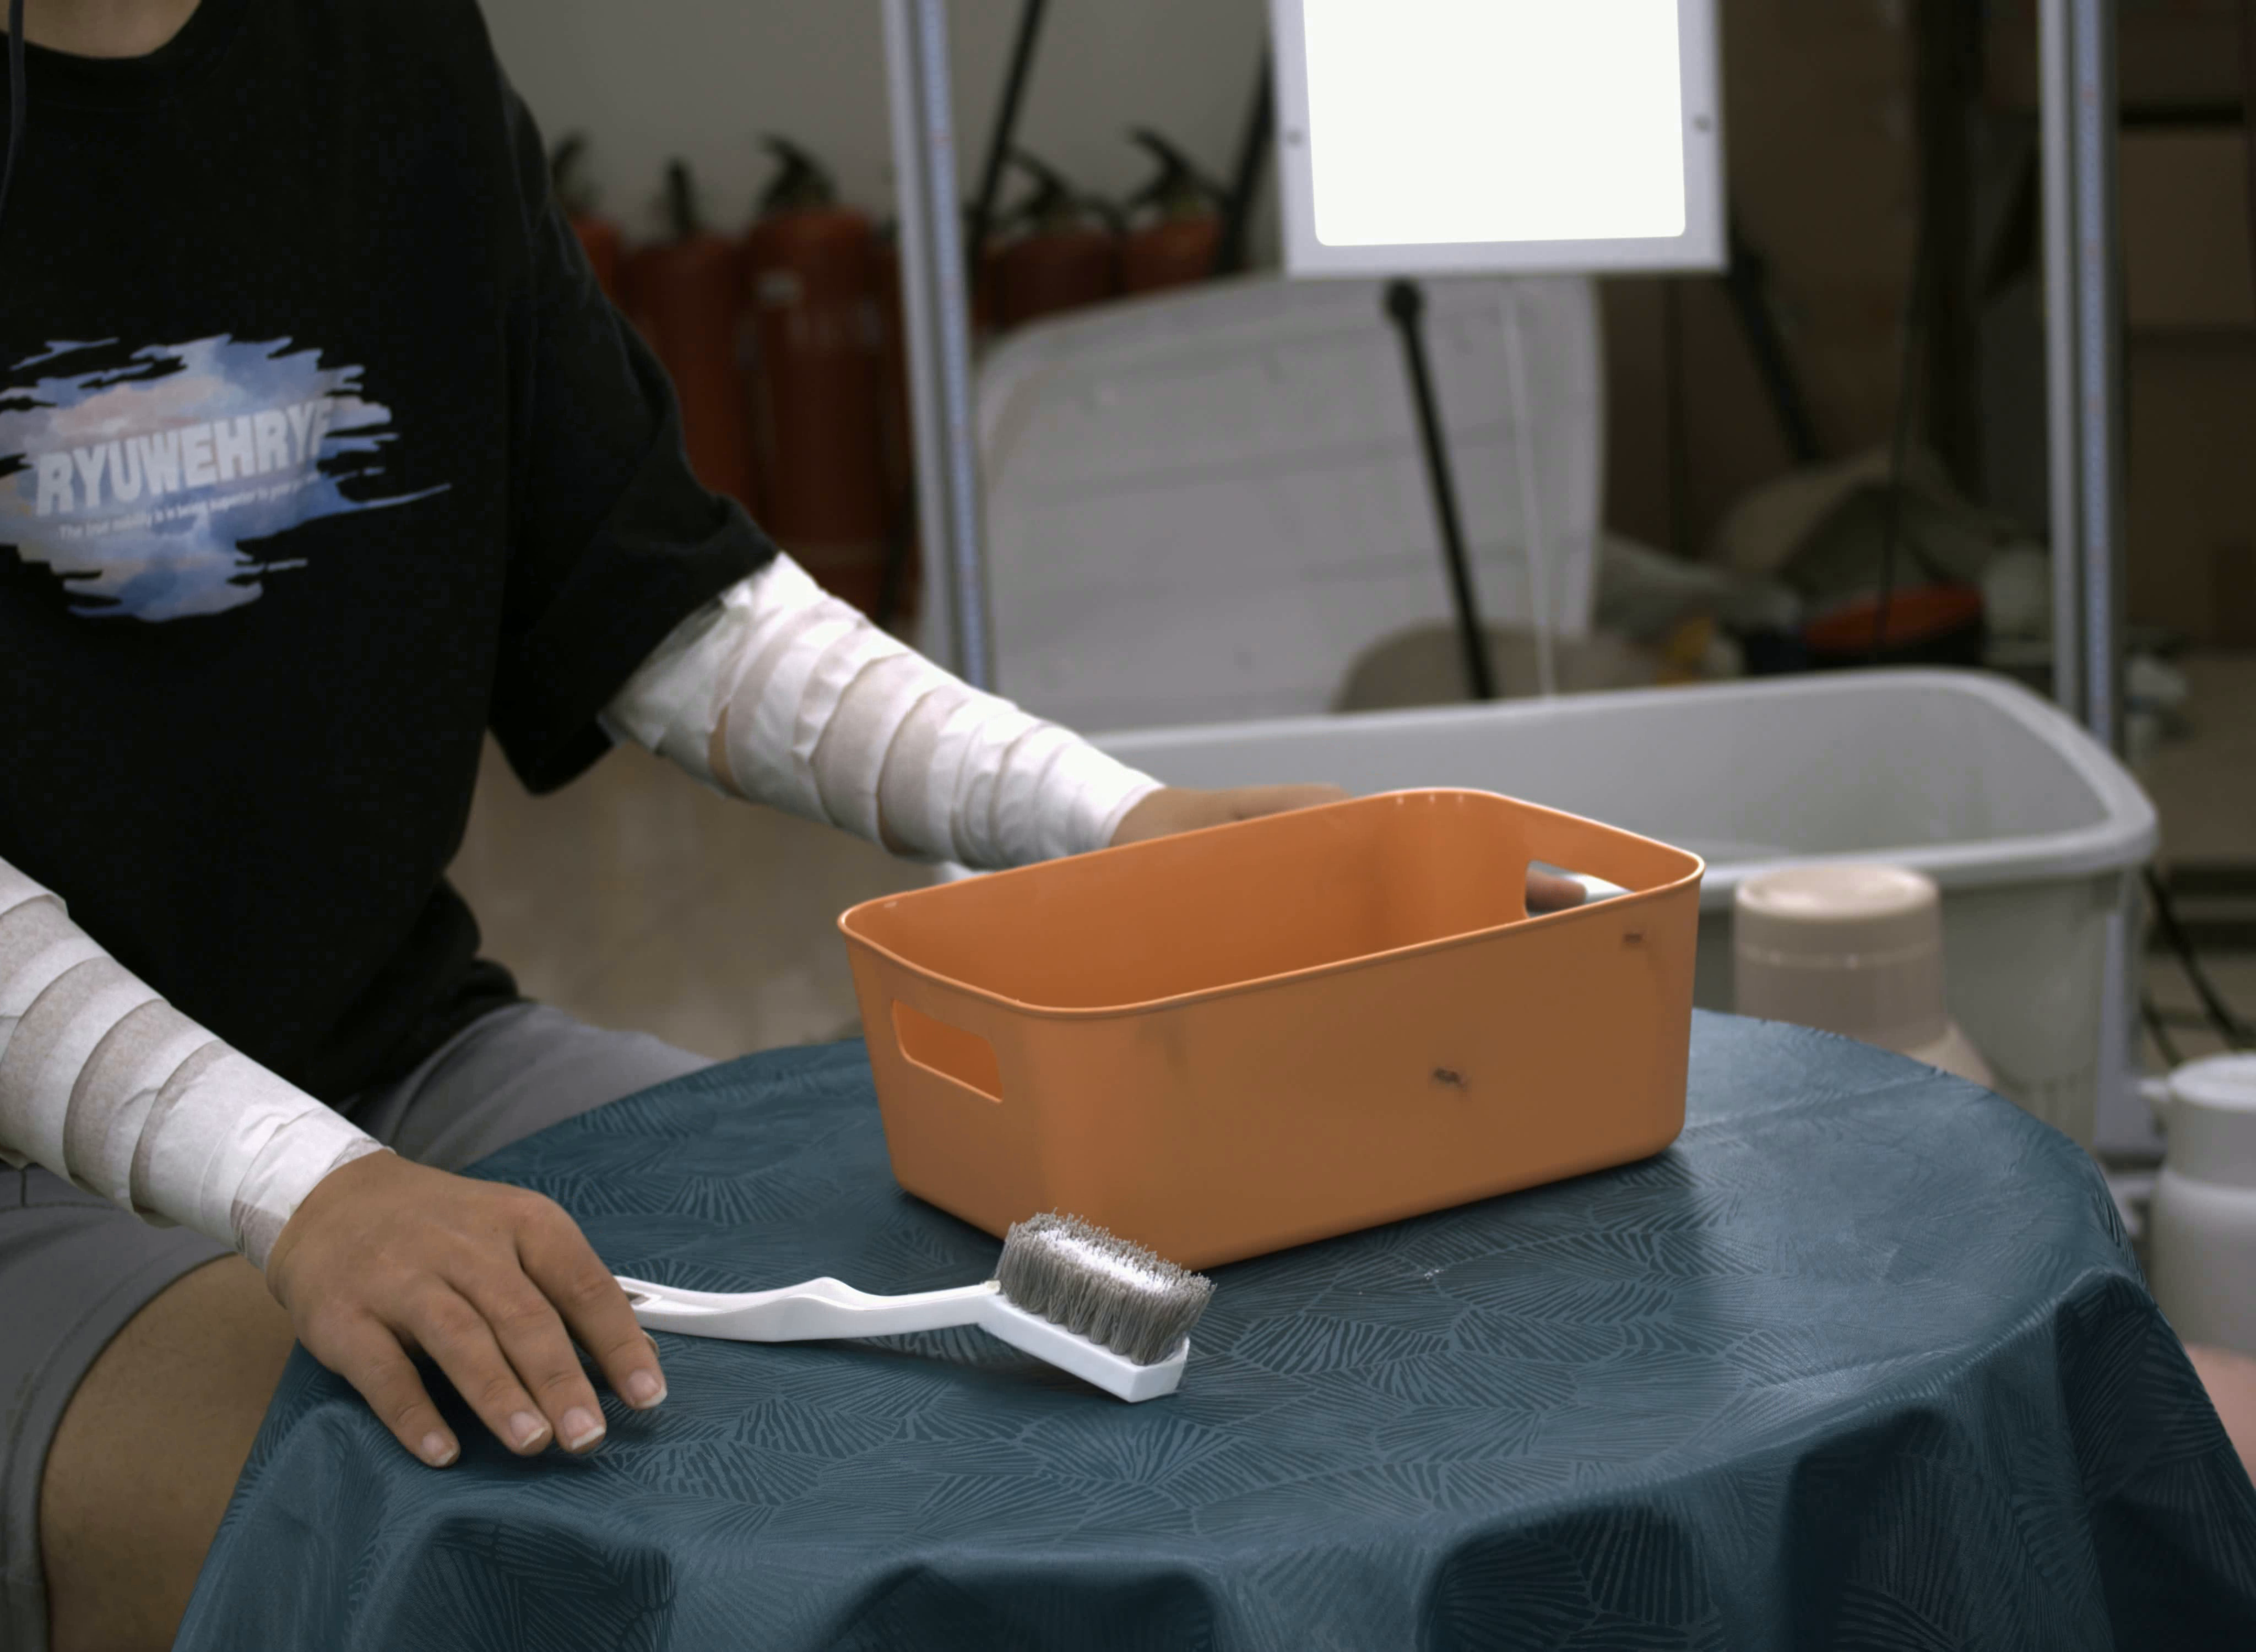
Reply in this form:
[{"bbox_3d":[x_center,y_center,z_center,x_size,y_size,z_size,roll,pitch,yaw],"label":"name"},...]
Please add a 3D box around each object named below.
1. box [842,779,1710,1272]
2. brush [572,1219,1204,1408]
[{"bbox_3d":[0.052,0.066,1.897,0.267,0.103,0.203,-12,16,-26],"label":"box"},{"bbox_3d":[-0.082,0.143,1.755,0.248,0.050,0.033,6,17,36],"label":"brush"}]
